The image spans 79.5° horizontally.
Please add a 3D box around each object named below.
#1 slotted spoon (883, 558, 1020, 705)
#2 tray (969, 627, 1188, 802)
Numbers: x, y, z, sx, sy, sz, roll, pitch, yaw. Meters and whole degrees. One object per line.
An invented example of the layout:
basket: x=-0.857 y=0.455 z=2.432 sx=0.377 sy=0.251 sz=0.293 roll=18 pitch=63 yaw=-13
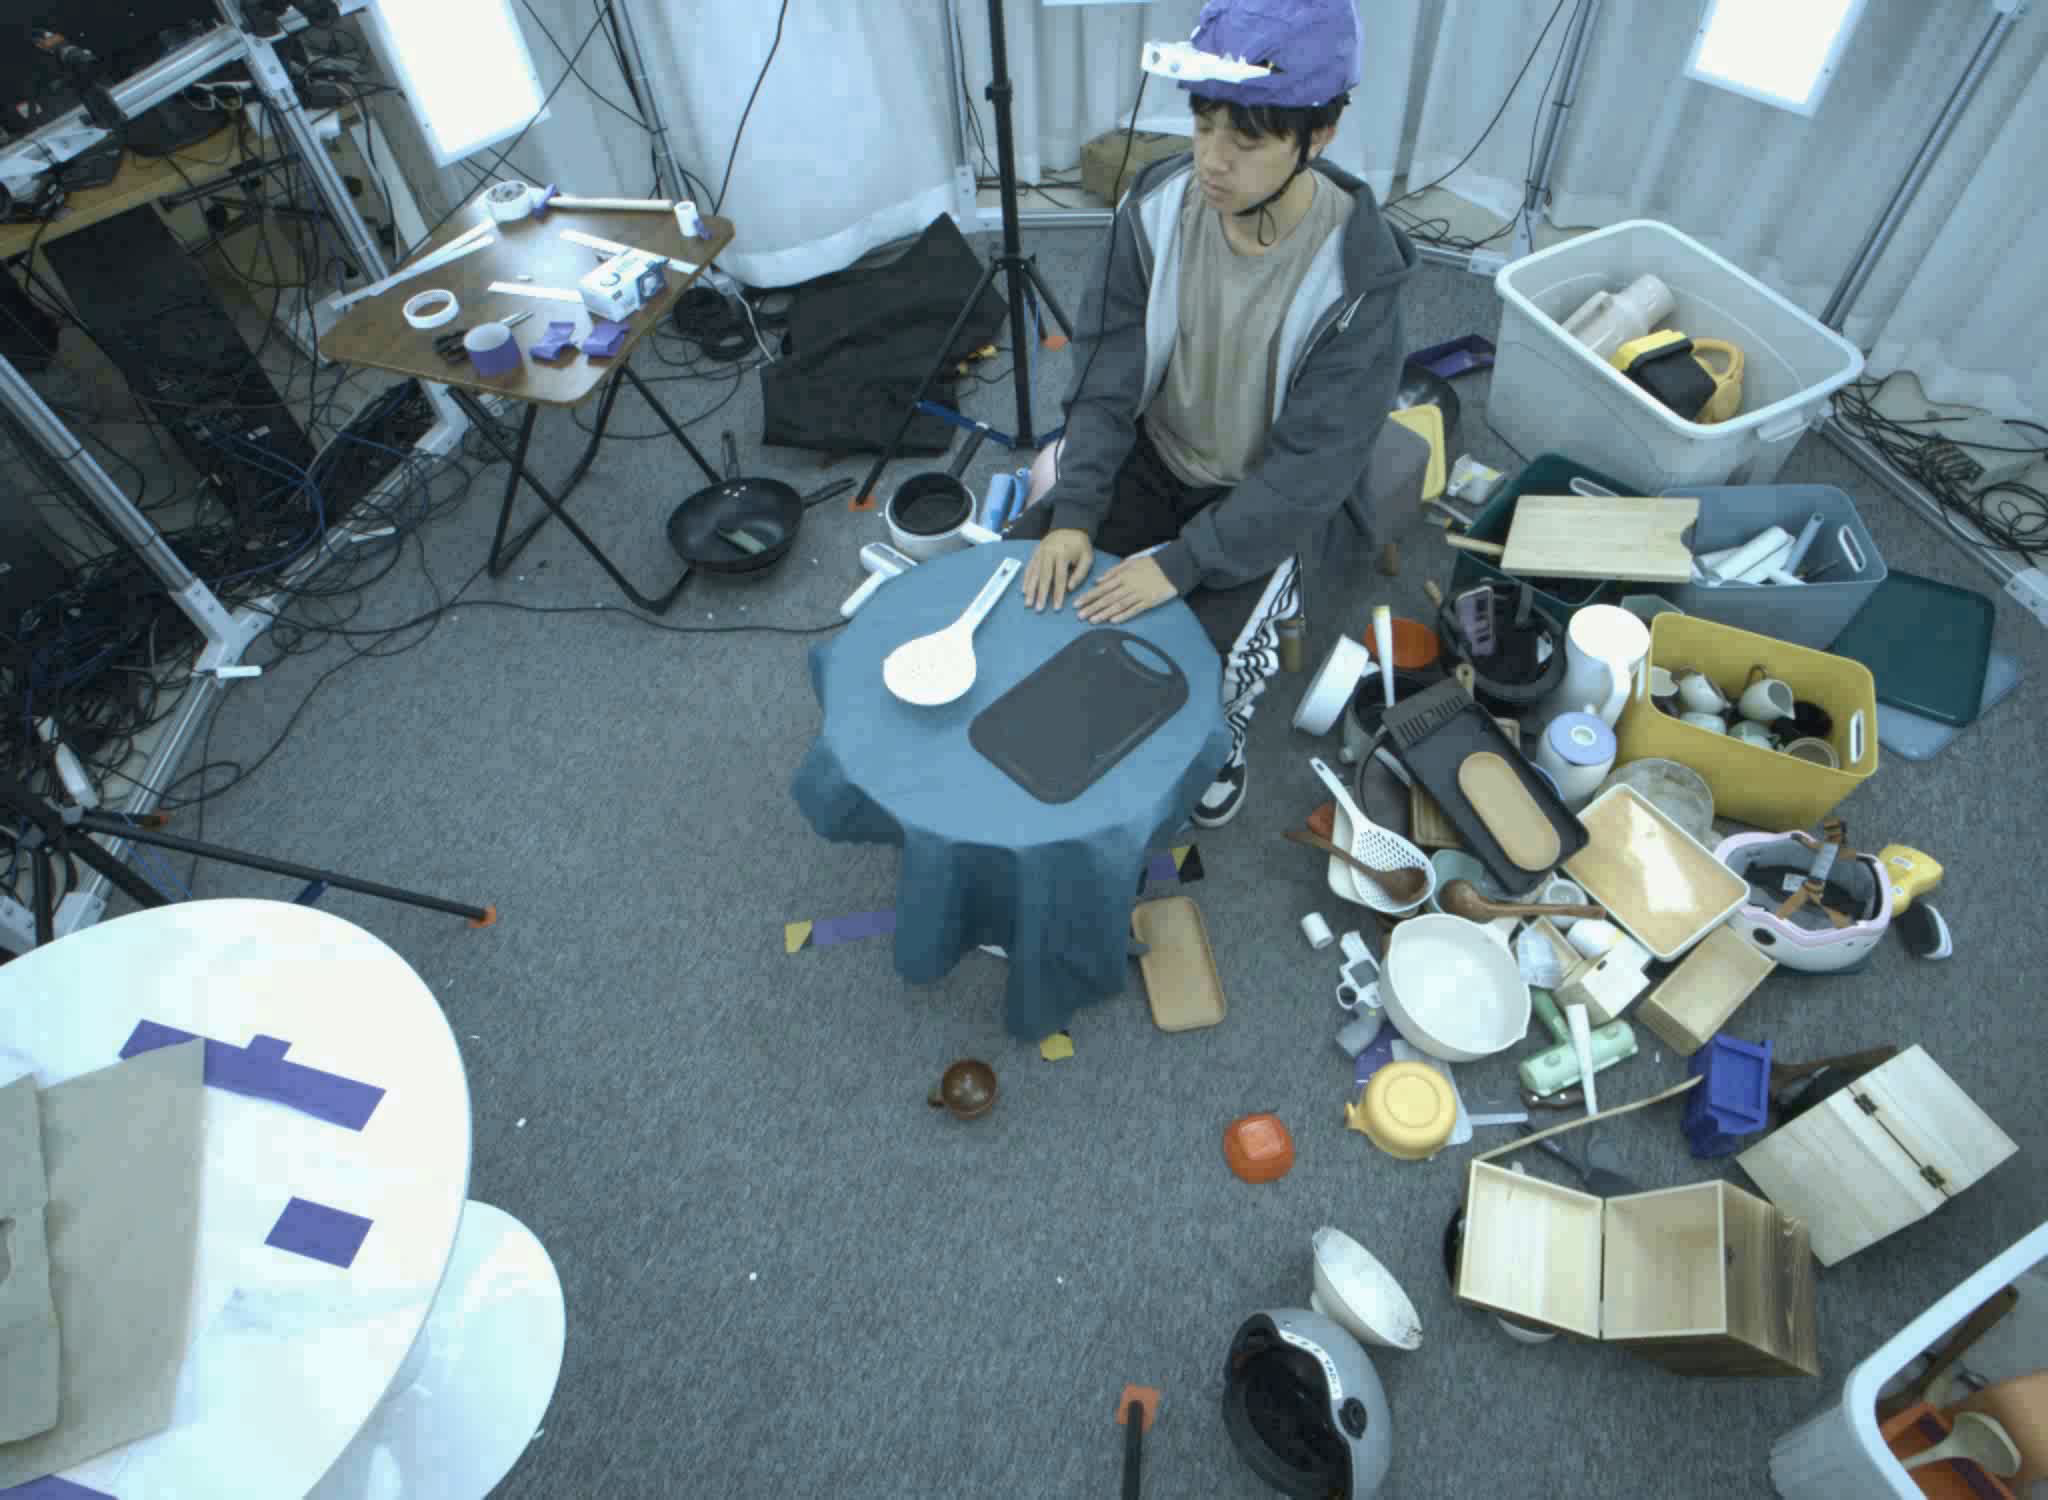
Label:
slotted spoon: x=-0.095 y=-0.188 z=1.899 sx=0.134 sy=0.046 sz=0.350 roll=22 pitch=57 yaw=14
tray: x=0.087 y=-0.066 z=1.830 sx=0.328 sy=0.010 sz=0.207 roll=-39 pitch=62 yaw=-23
